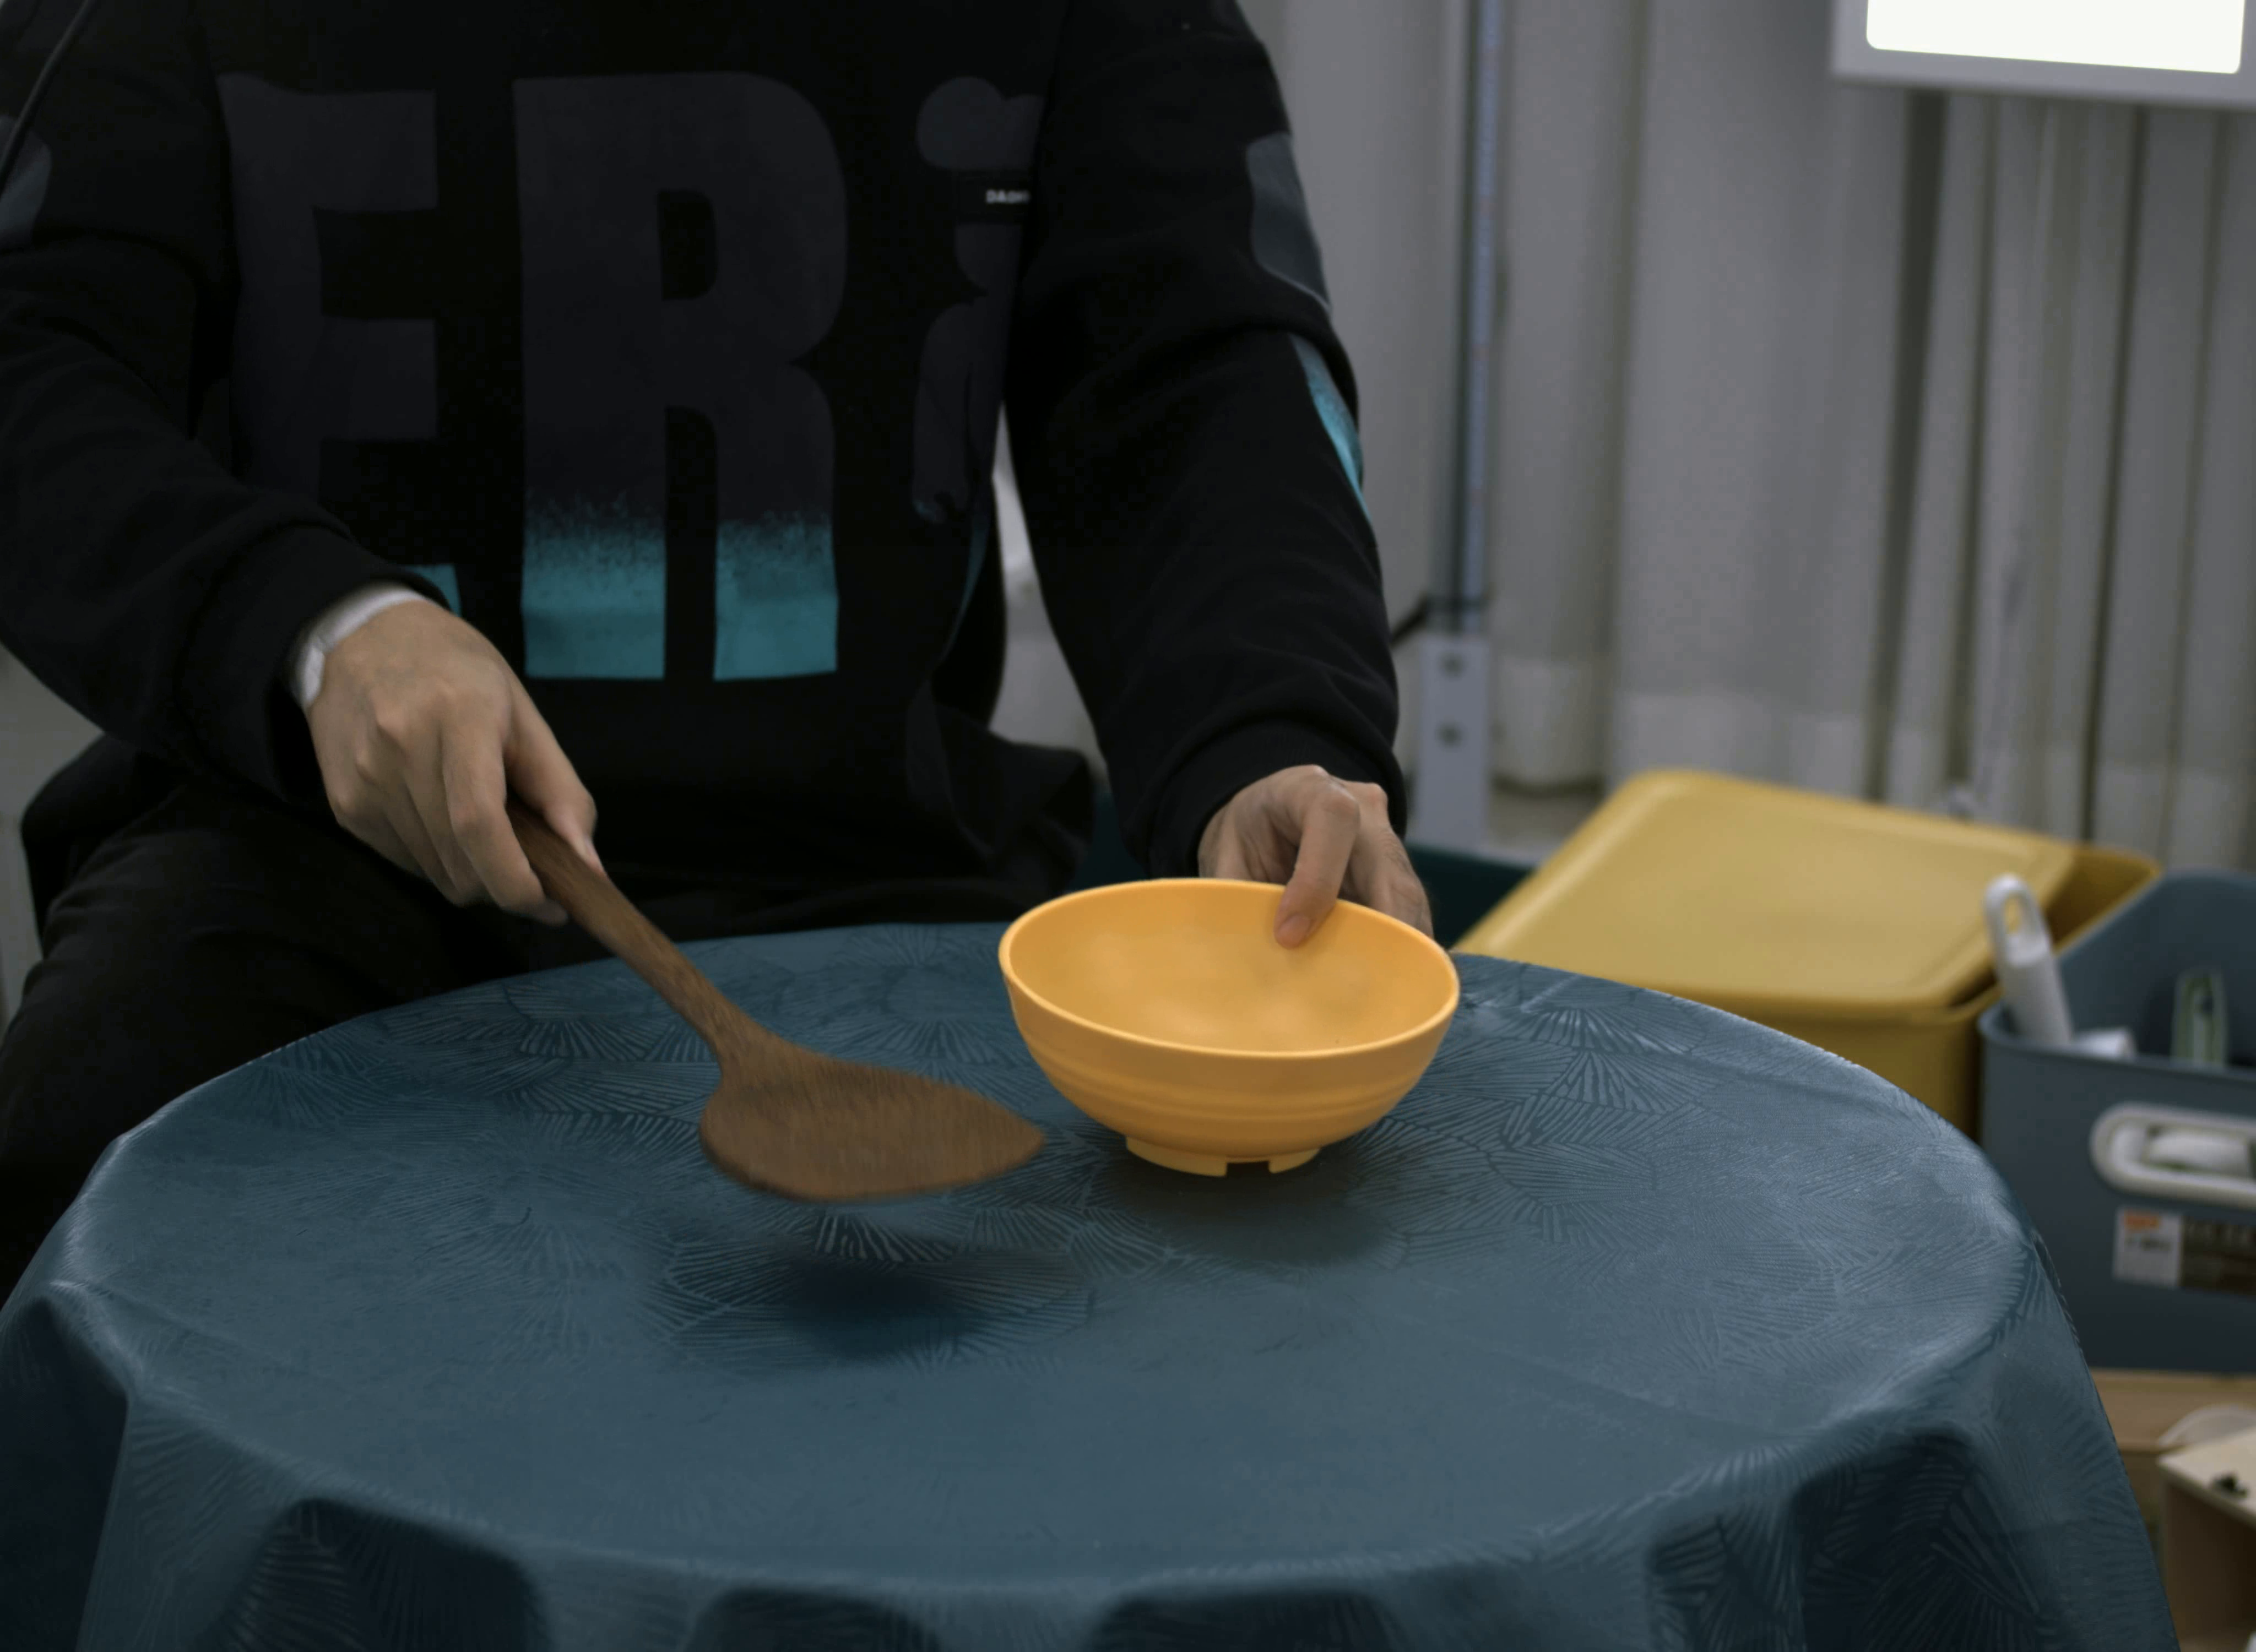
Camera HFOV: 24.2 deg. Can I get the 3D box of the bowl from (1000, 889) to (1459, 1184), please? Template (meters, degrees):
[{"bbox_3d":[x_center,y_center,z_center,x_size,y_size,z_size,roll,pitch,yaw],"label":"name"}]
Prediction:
[{"bbox_3d":[0.029,0.072,1.648,0.145,0.060,0.144,6,19,-1],"label":"bowl"}]

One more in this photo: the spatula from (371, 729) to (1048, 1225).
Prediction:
[{"bbox_3d":[-0.153,0.039,1.652,0.096,0.016,0.380,-9,28,-30],"label":"spatula"}]
